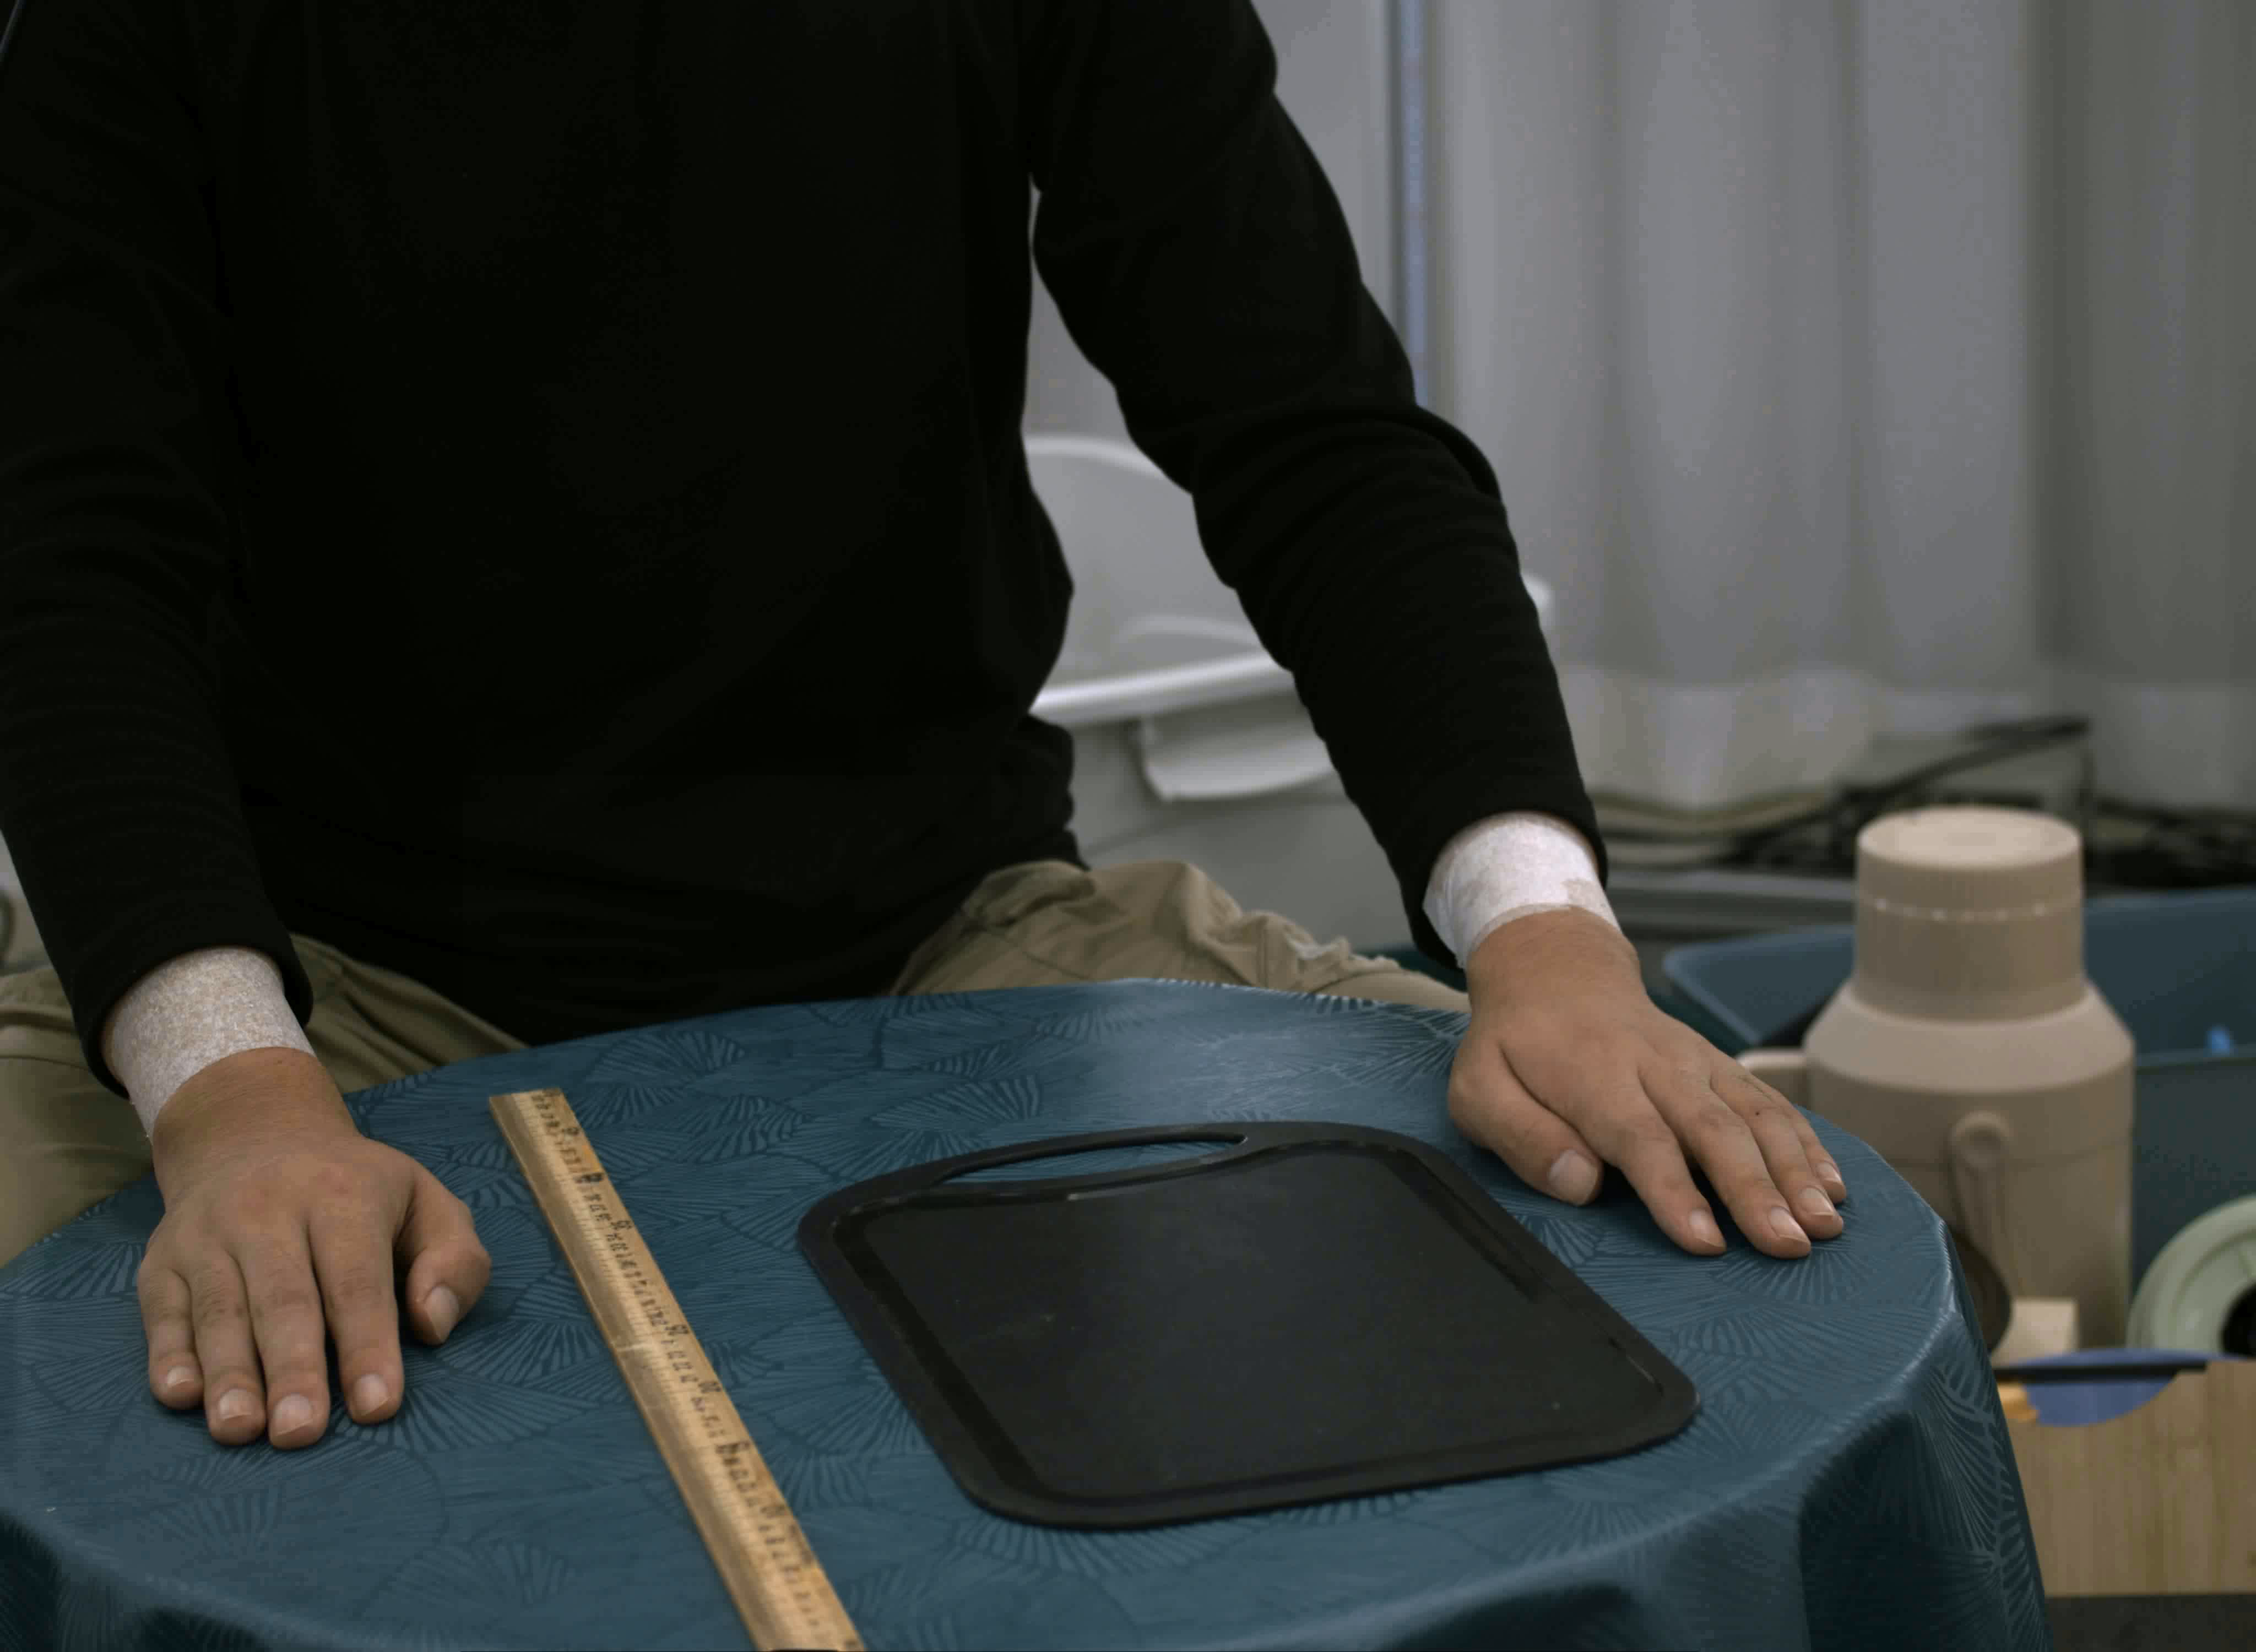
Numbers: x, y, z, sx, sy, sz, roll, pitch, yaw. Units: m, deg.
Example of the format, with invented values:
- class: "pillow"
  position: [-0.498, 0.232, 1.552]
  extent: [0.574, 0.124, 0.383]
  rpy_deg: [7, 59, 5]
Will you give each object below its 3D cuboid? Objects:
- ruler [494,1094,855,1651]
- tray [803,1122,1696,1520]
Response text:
- class: "ruler"
  position: [-0.139, 0.151, 1.595]
  extent: [0.026, 0.006, 0.504]
  rpy_deg: [-4, 14, -13]
- class: "tray"
  position: [0.025, 0.138, 1.609]
  extent: [0.210, 0.010, 0.328]
  rpy_deg: [-6, 15, -13]
